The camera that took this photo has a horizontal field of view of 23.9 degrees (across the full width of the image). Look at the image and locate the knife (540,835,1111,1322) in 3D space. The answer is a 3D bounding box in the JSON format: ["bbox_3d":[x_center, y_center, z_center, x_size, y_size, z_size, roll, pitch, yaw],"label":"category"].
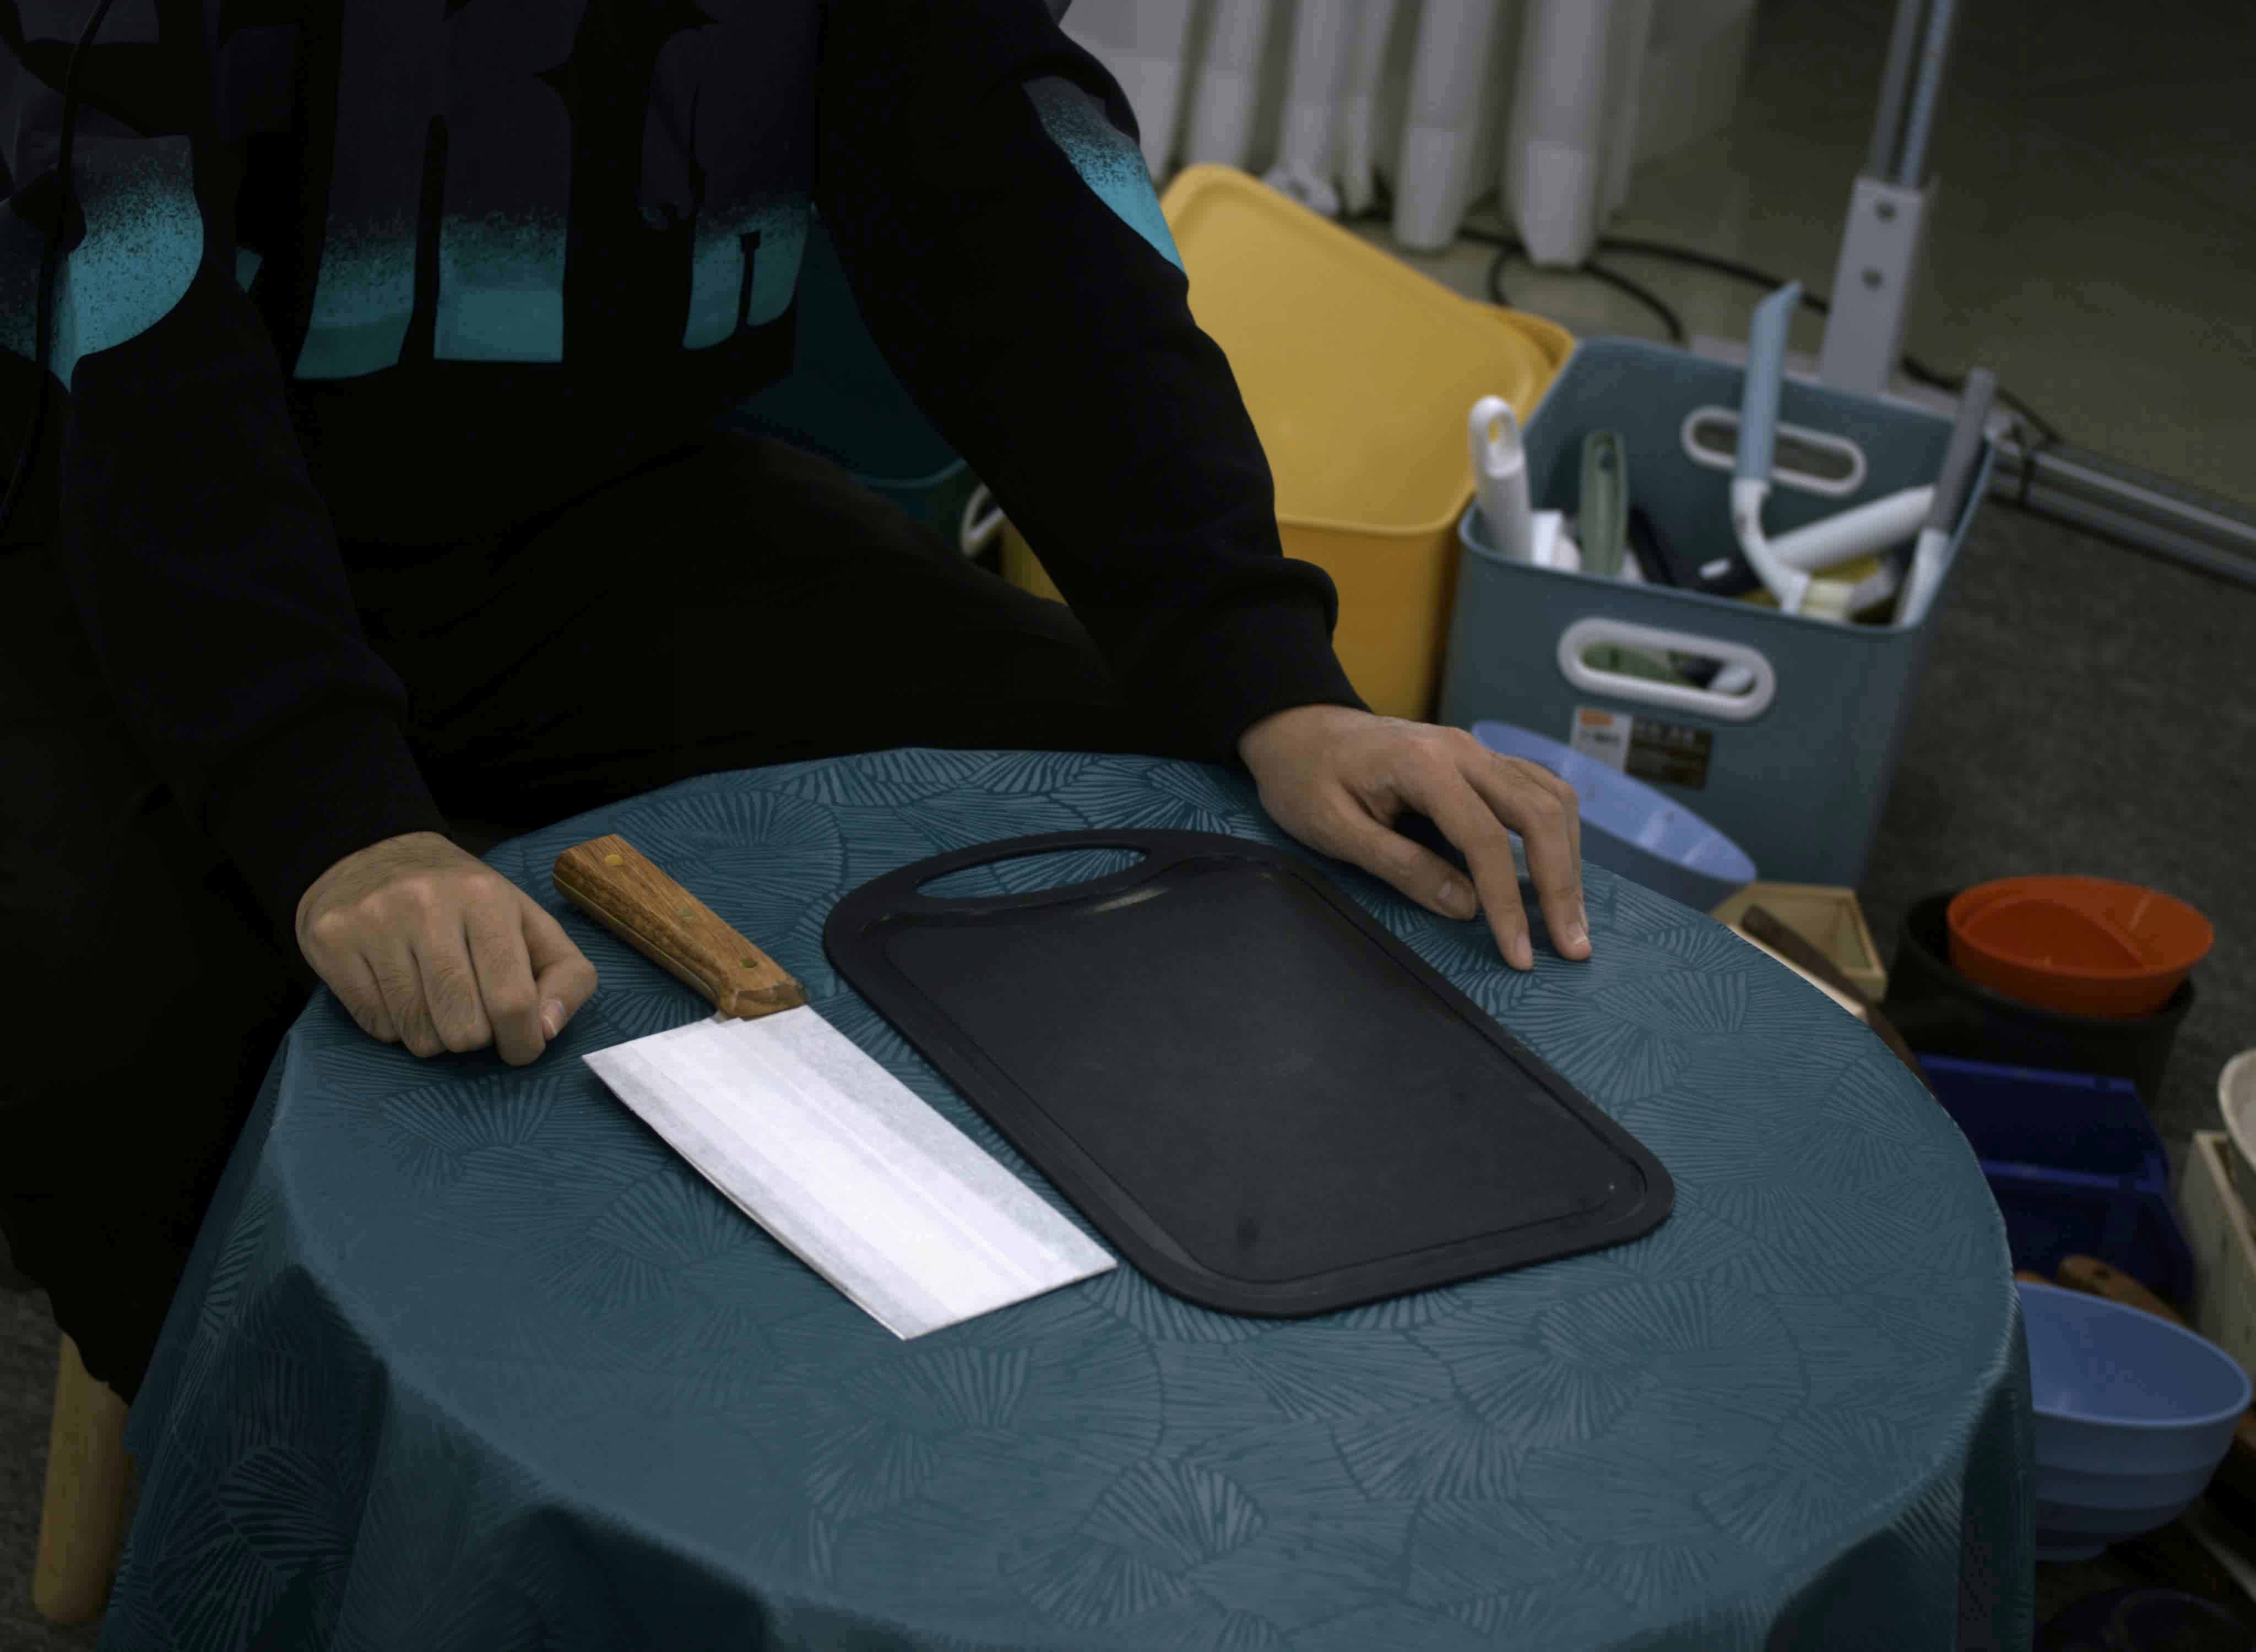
[{"bbox_3d":[-0.129,0.086,1.831,0.092,0.021,0.308,-16,37,-35],"label":"knife"}]

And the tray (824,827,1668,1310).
[{"bbox_3d":[0.033,0.077,1.894,0.210,0.010,0.328,-10,31,-29],"label":"tray"}]
